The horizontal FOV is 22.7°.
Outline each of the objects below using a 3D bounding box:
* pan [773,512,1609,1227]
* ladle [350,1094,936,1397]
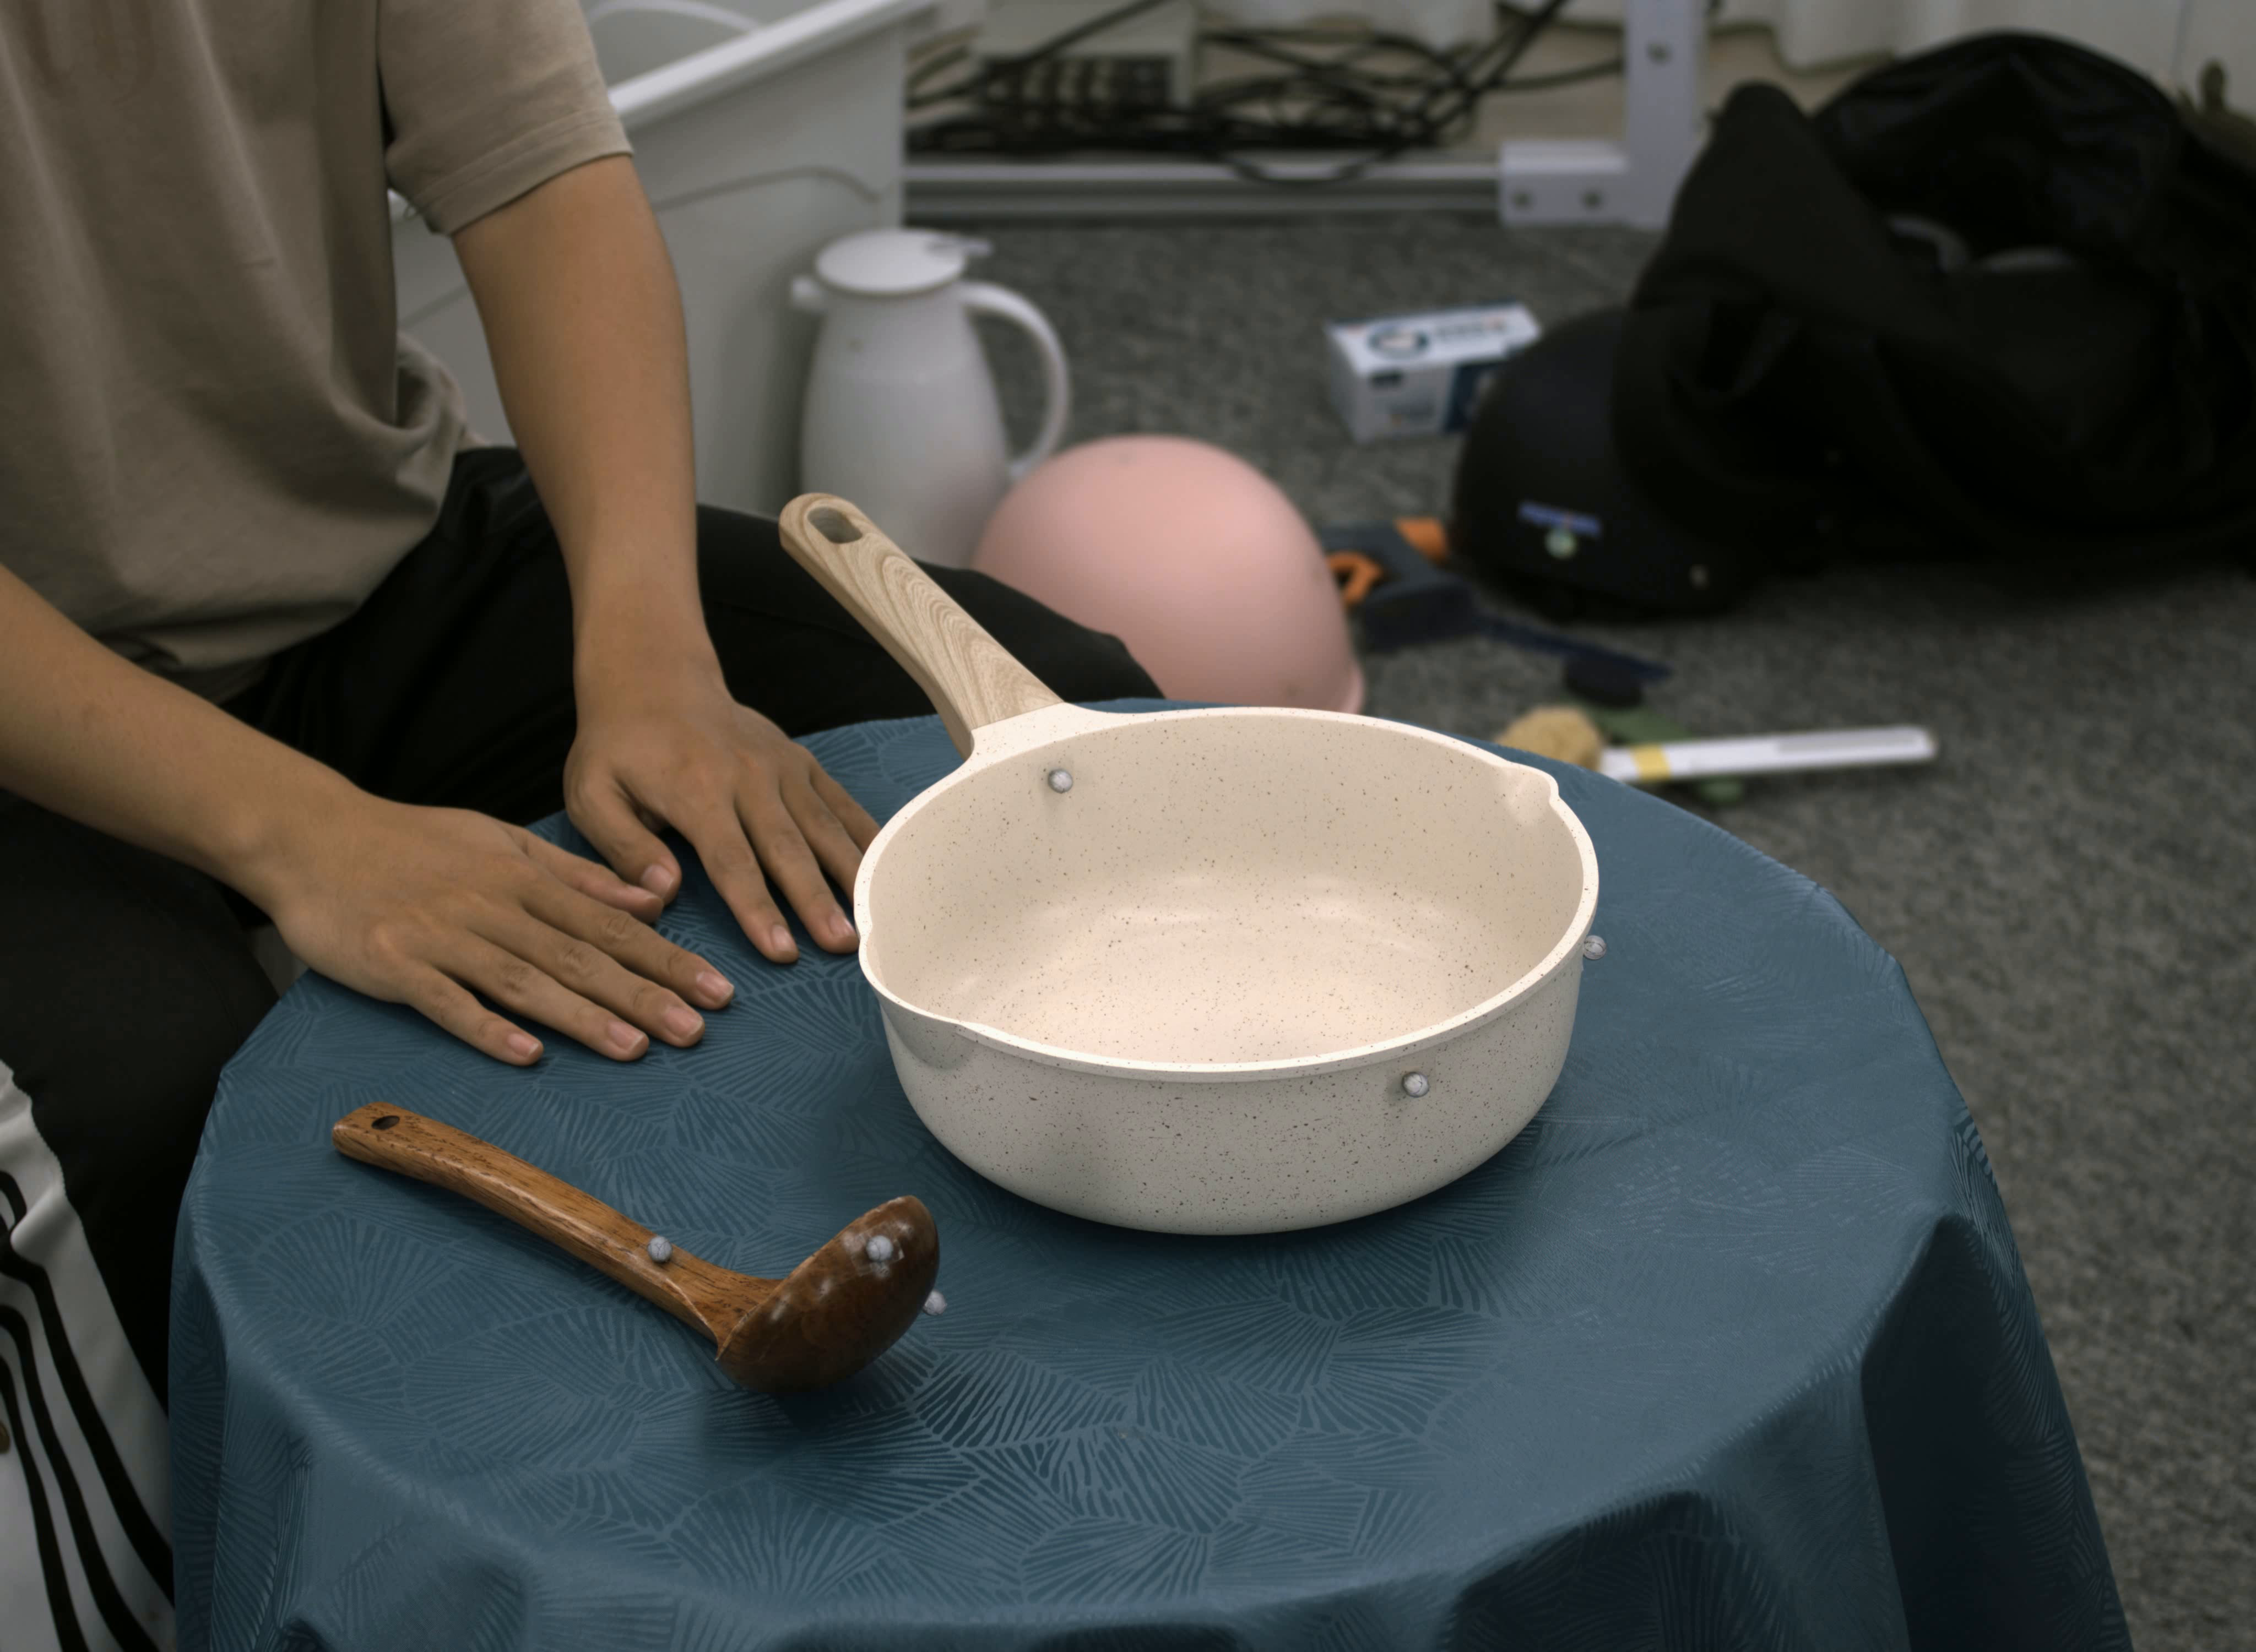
[{"bbox_3d":[-0.008,0.008,1.973,0.265,0.101,0.436,-18,31,-25],"label":"pan"},{"bbox_3d":[-0.168,0.115,1.806,0.083,0.076,0.274,-27,36,-37],"label":"ladle"}]
